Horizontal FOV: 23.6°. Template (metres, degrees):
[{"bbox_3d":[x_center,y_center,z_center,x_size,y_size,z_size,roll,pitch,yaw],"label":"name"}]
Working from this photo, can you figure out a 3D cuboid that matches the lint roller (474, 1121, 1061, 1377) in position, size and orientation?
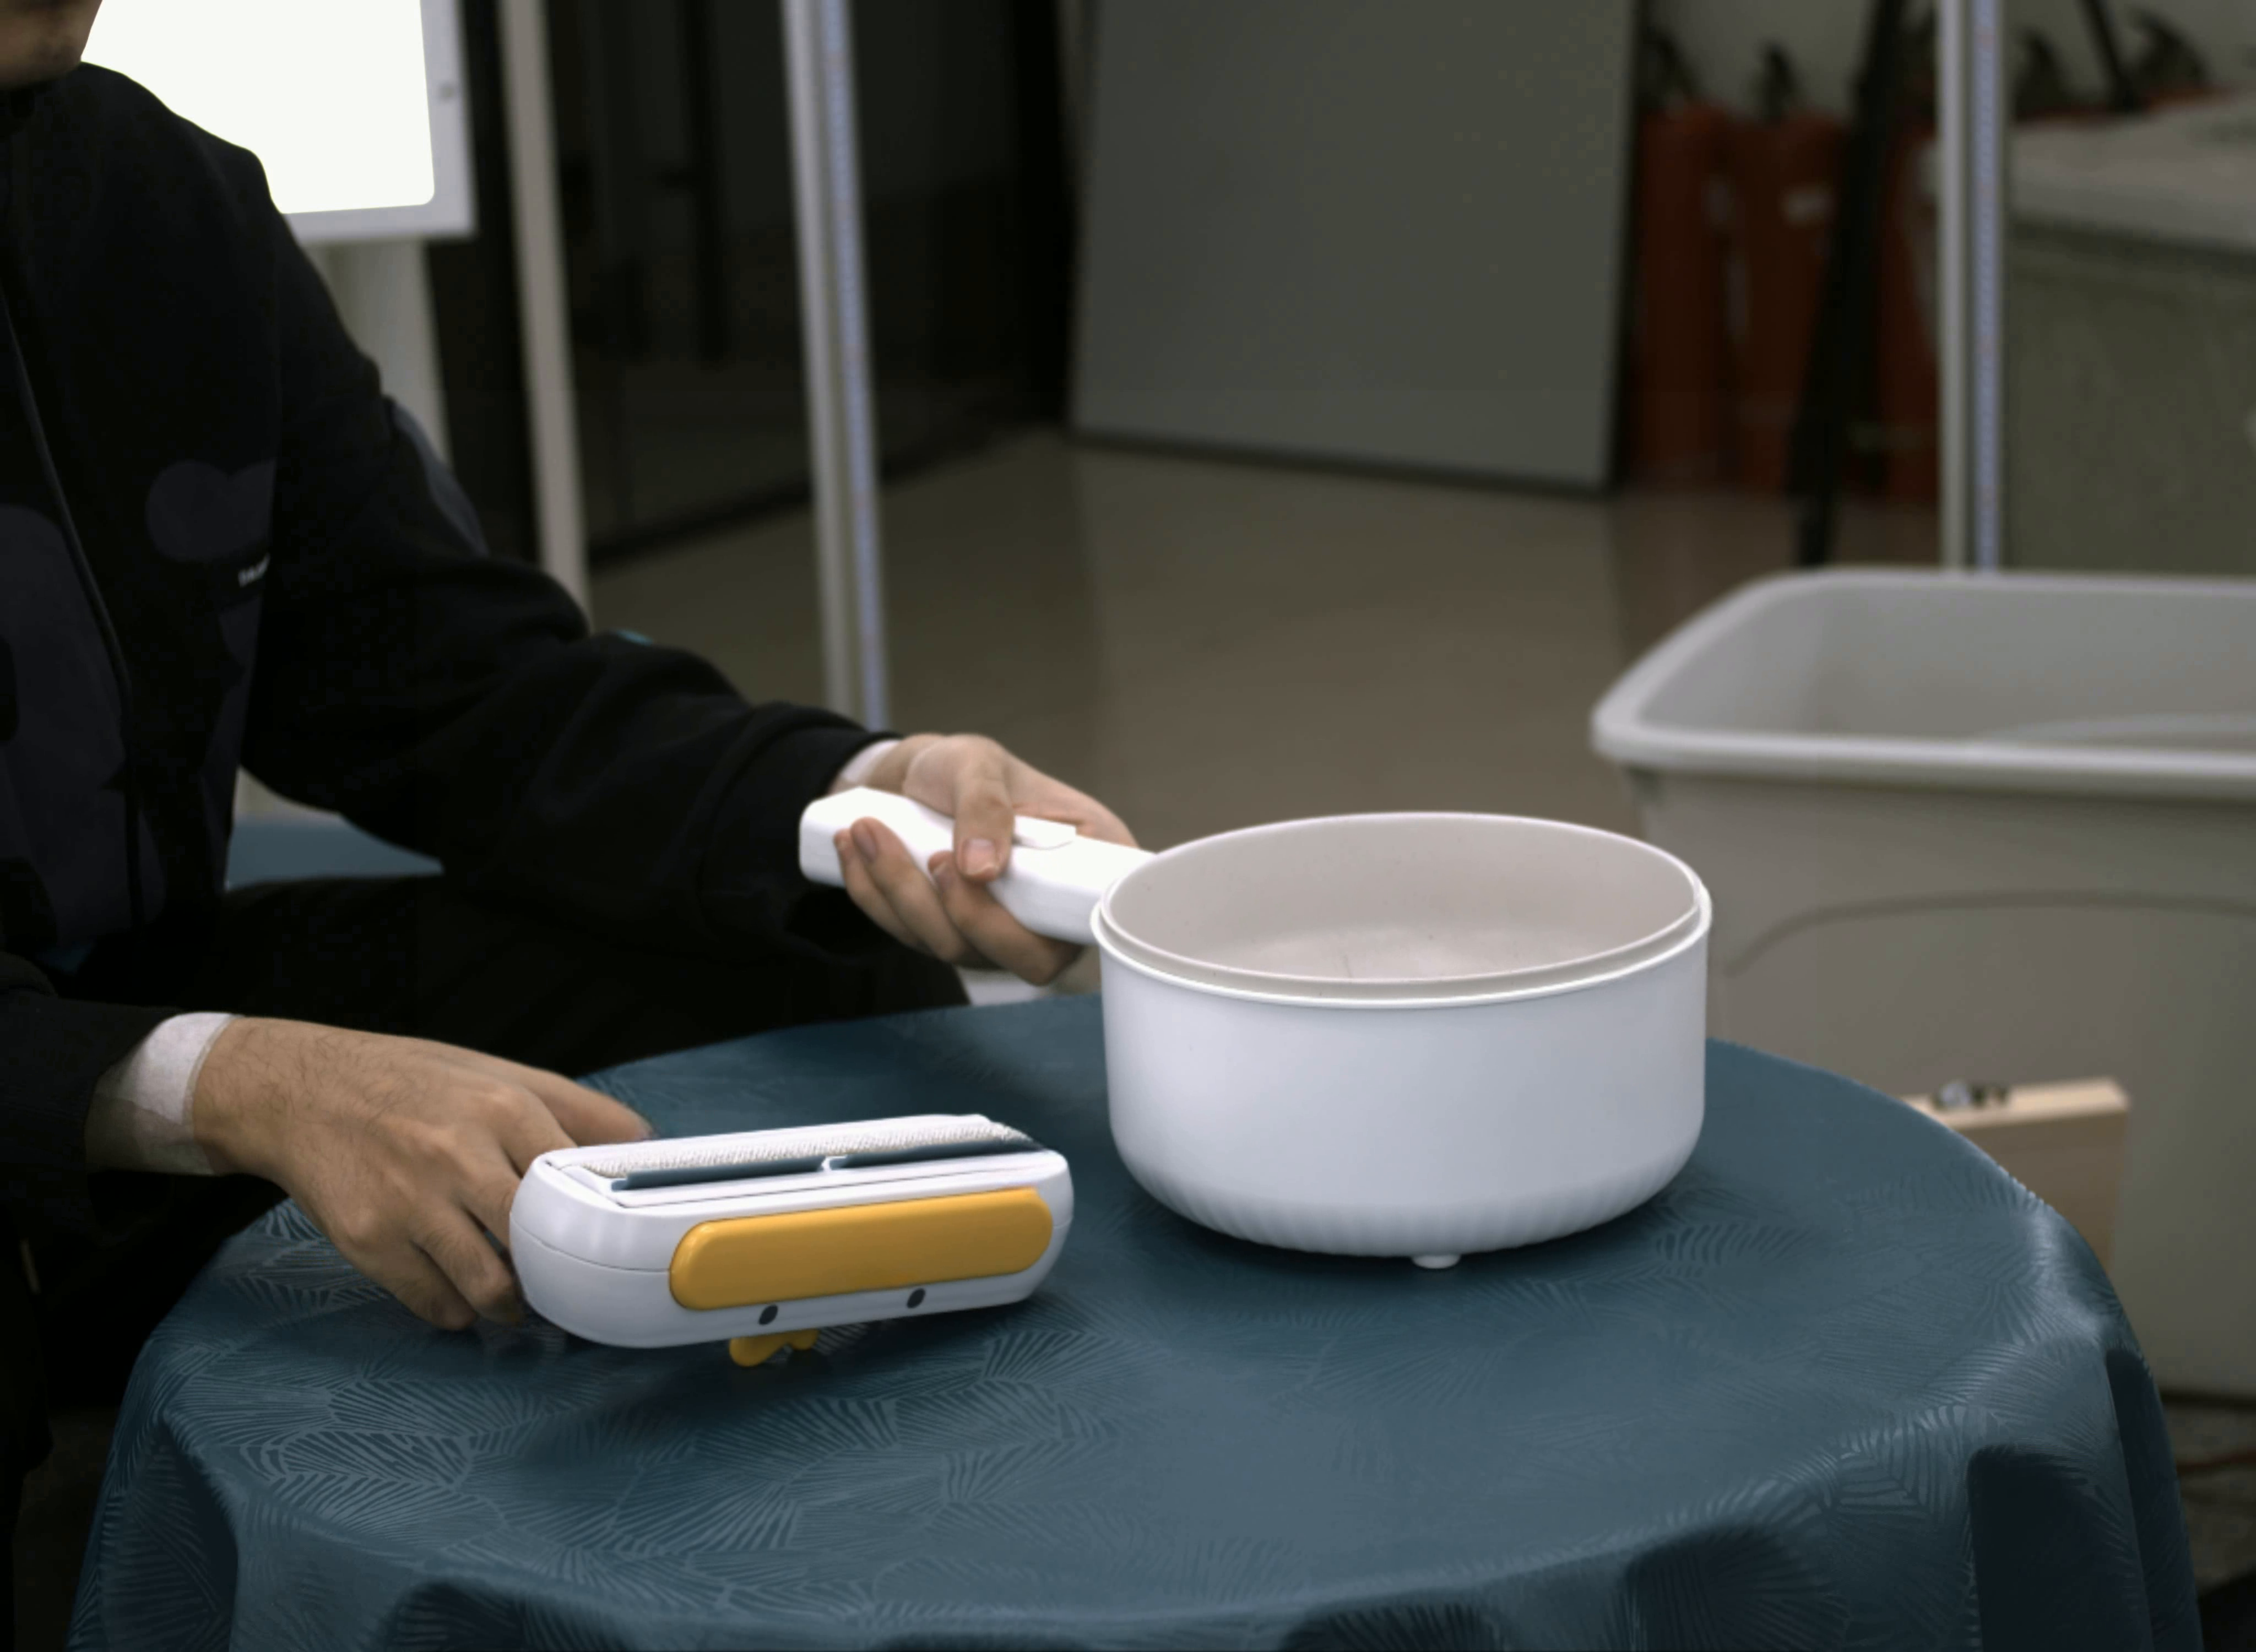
[{"bbox_3d":[-0.140,0.121,1.671,0.188,0.075,0.194,-7,11,-36],"label":"lint roller"}]

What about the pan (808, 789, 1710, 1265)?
[{"bbox_3d":[0.031,0.059,1.787,0.358,0.103,0.197,9,19,41],"label":"pan"}]
